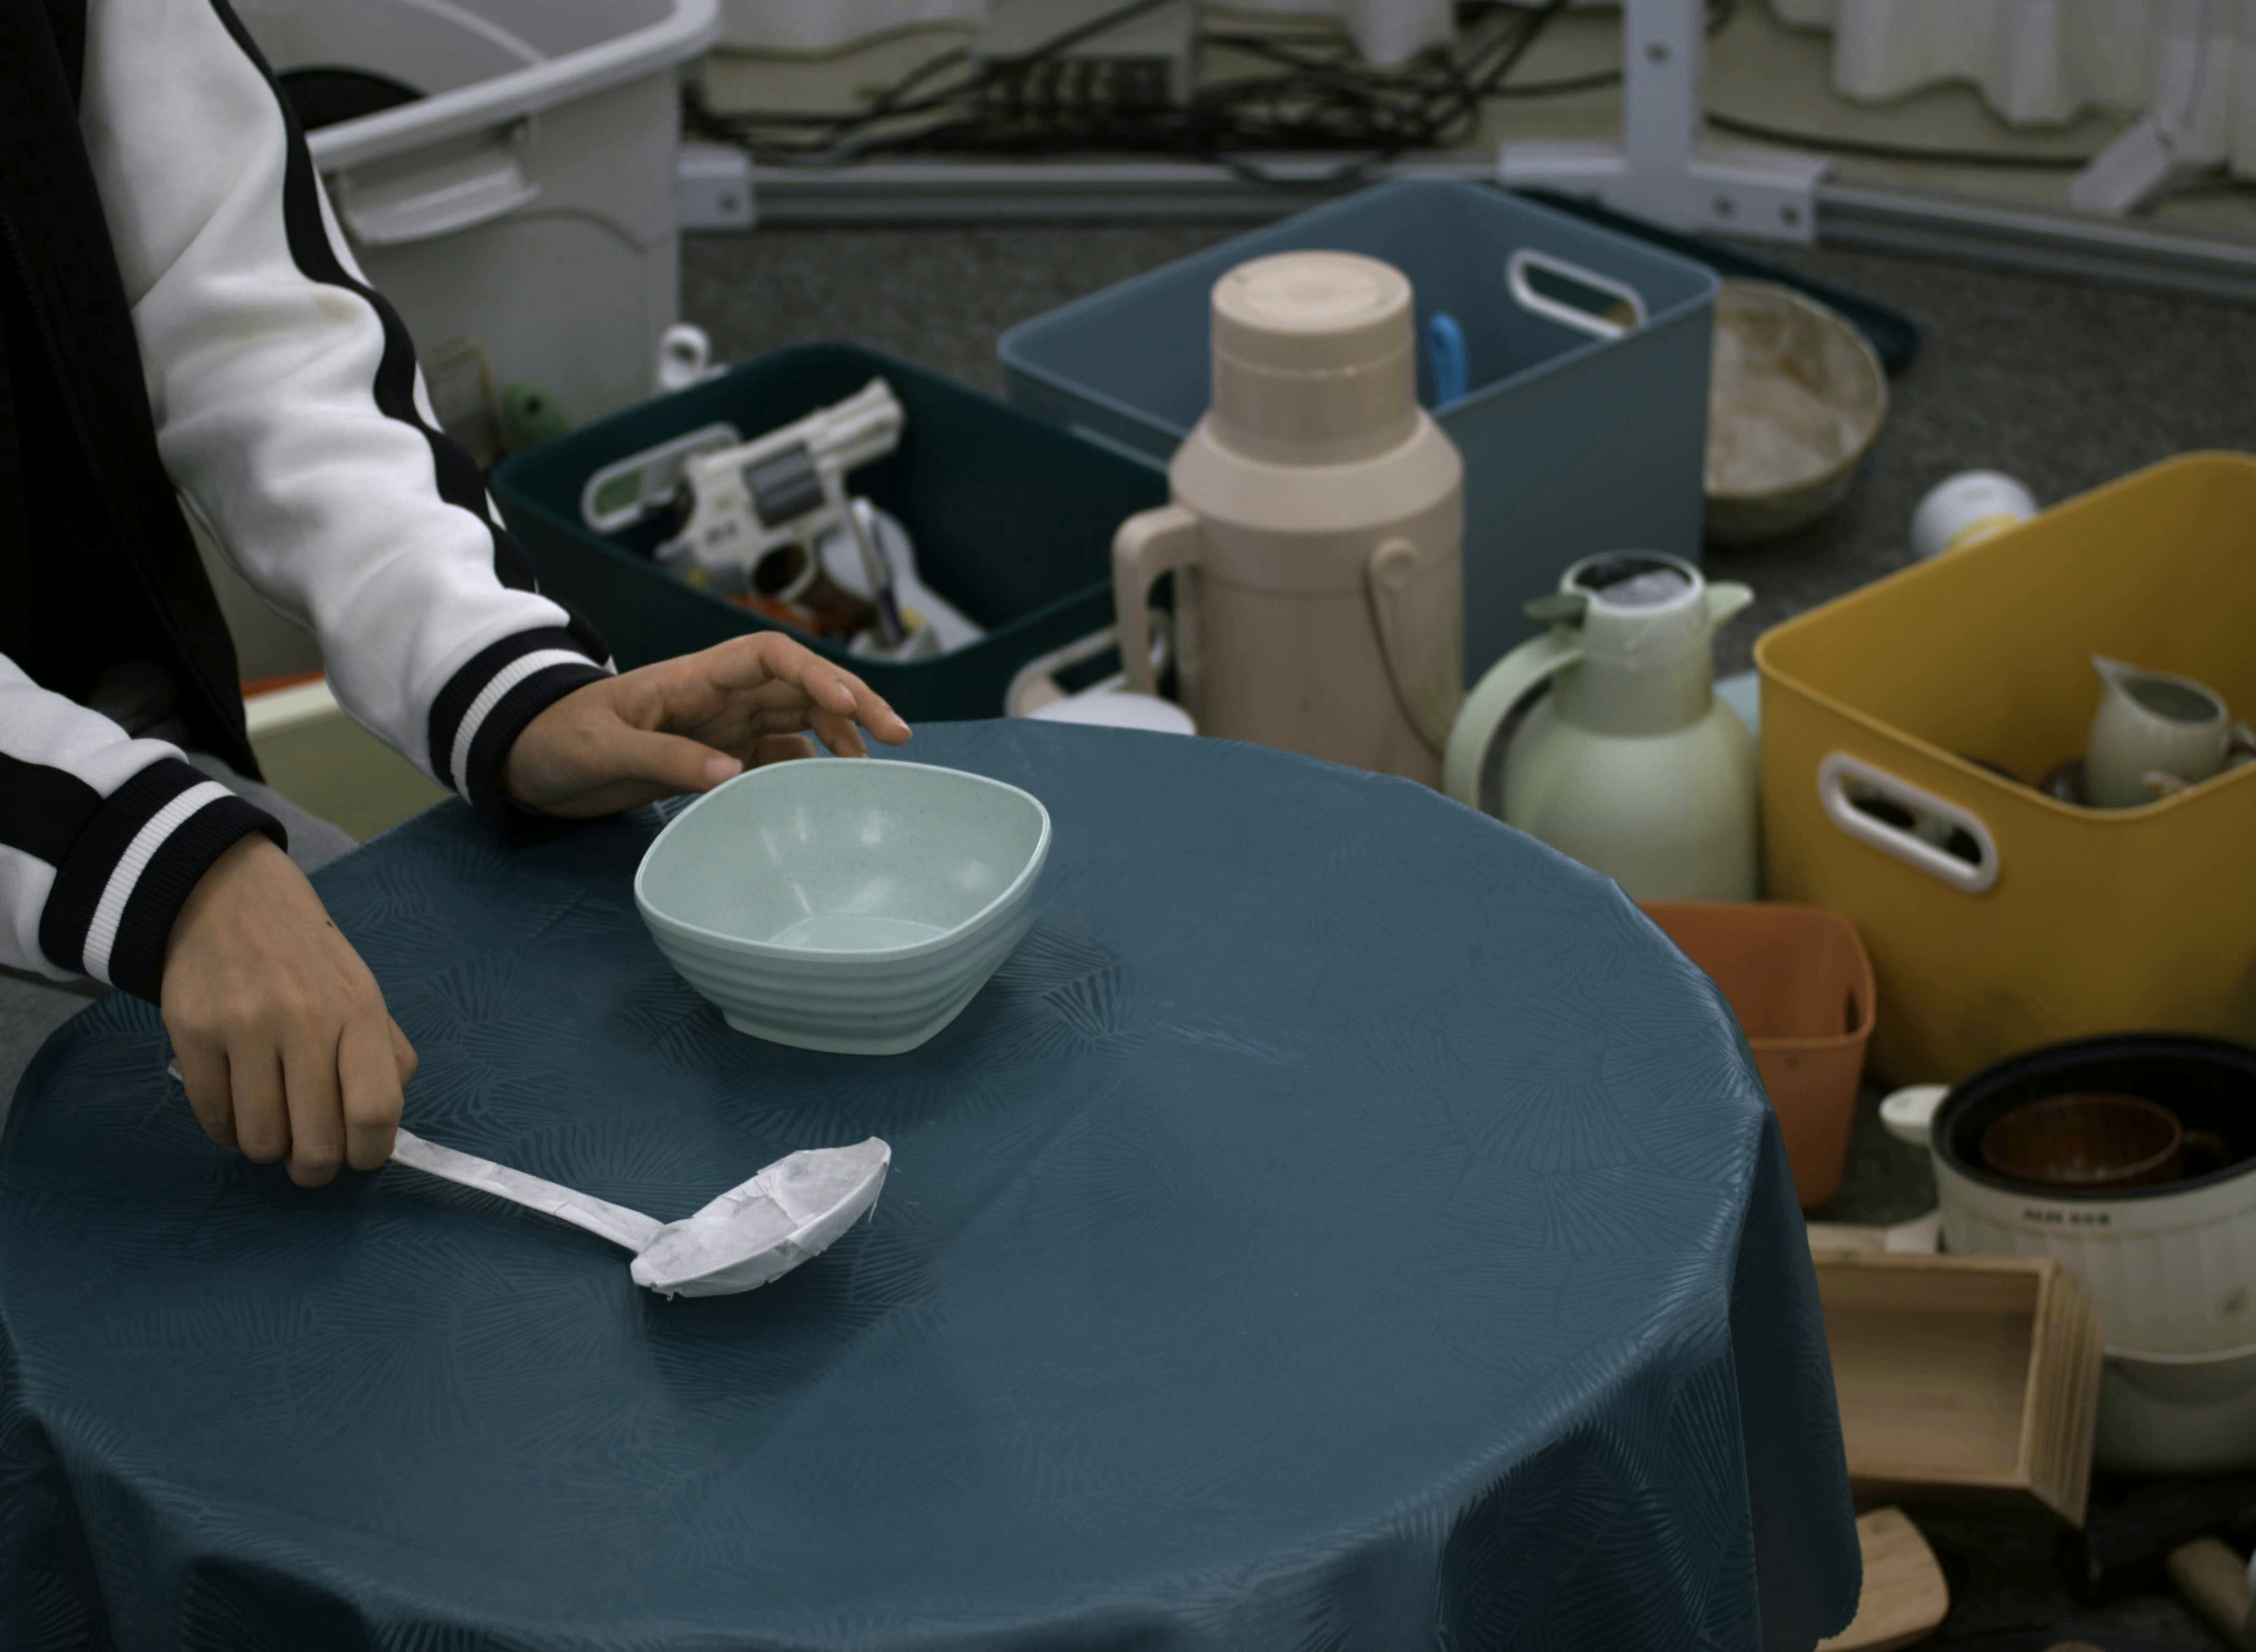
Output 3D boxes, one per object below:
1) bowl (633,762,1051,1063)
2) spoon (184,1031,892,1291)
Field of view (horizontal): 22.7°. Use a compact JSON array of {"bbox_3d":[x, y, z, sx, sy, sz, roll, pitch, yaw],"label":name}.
[{"bbox_3d":[-0.098,0.036,1.980,0.151,0.058,0.154,-2,28,1],"label":"bowl"},{"bbox_3d":[-0.200,0.093,1.858,0.276,0.059,0.102,20,28,26],"label":"spoon"}]
